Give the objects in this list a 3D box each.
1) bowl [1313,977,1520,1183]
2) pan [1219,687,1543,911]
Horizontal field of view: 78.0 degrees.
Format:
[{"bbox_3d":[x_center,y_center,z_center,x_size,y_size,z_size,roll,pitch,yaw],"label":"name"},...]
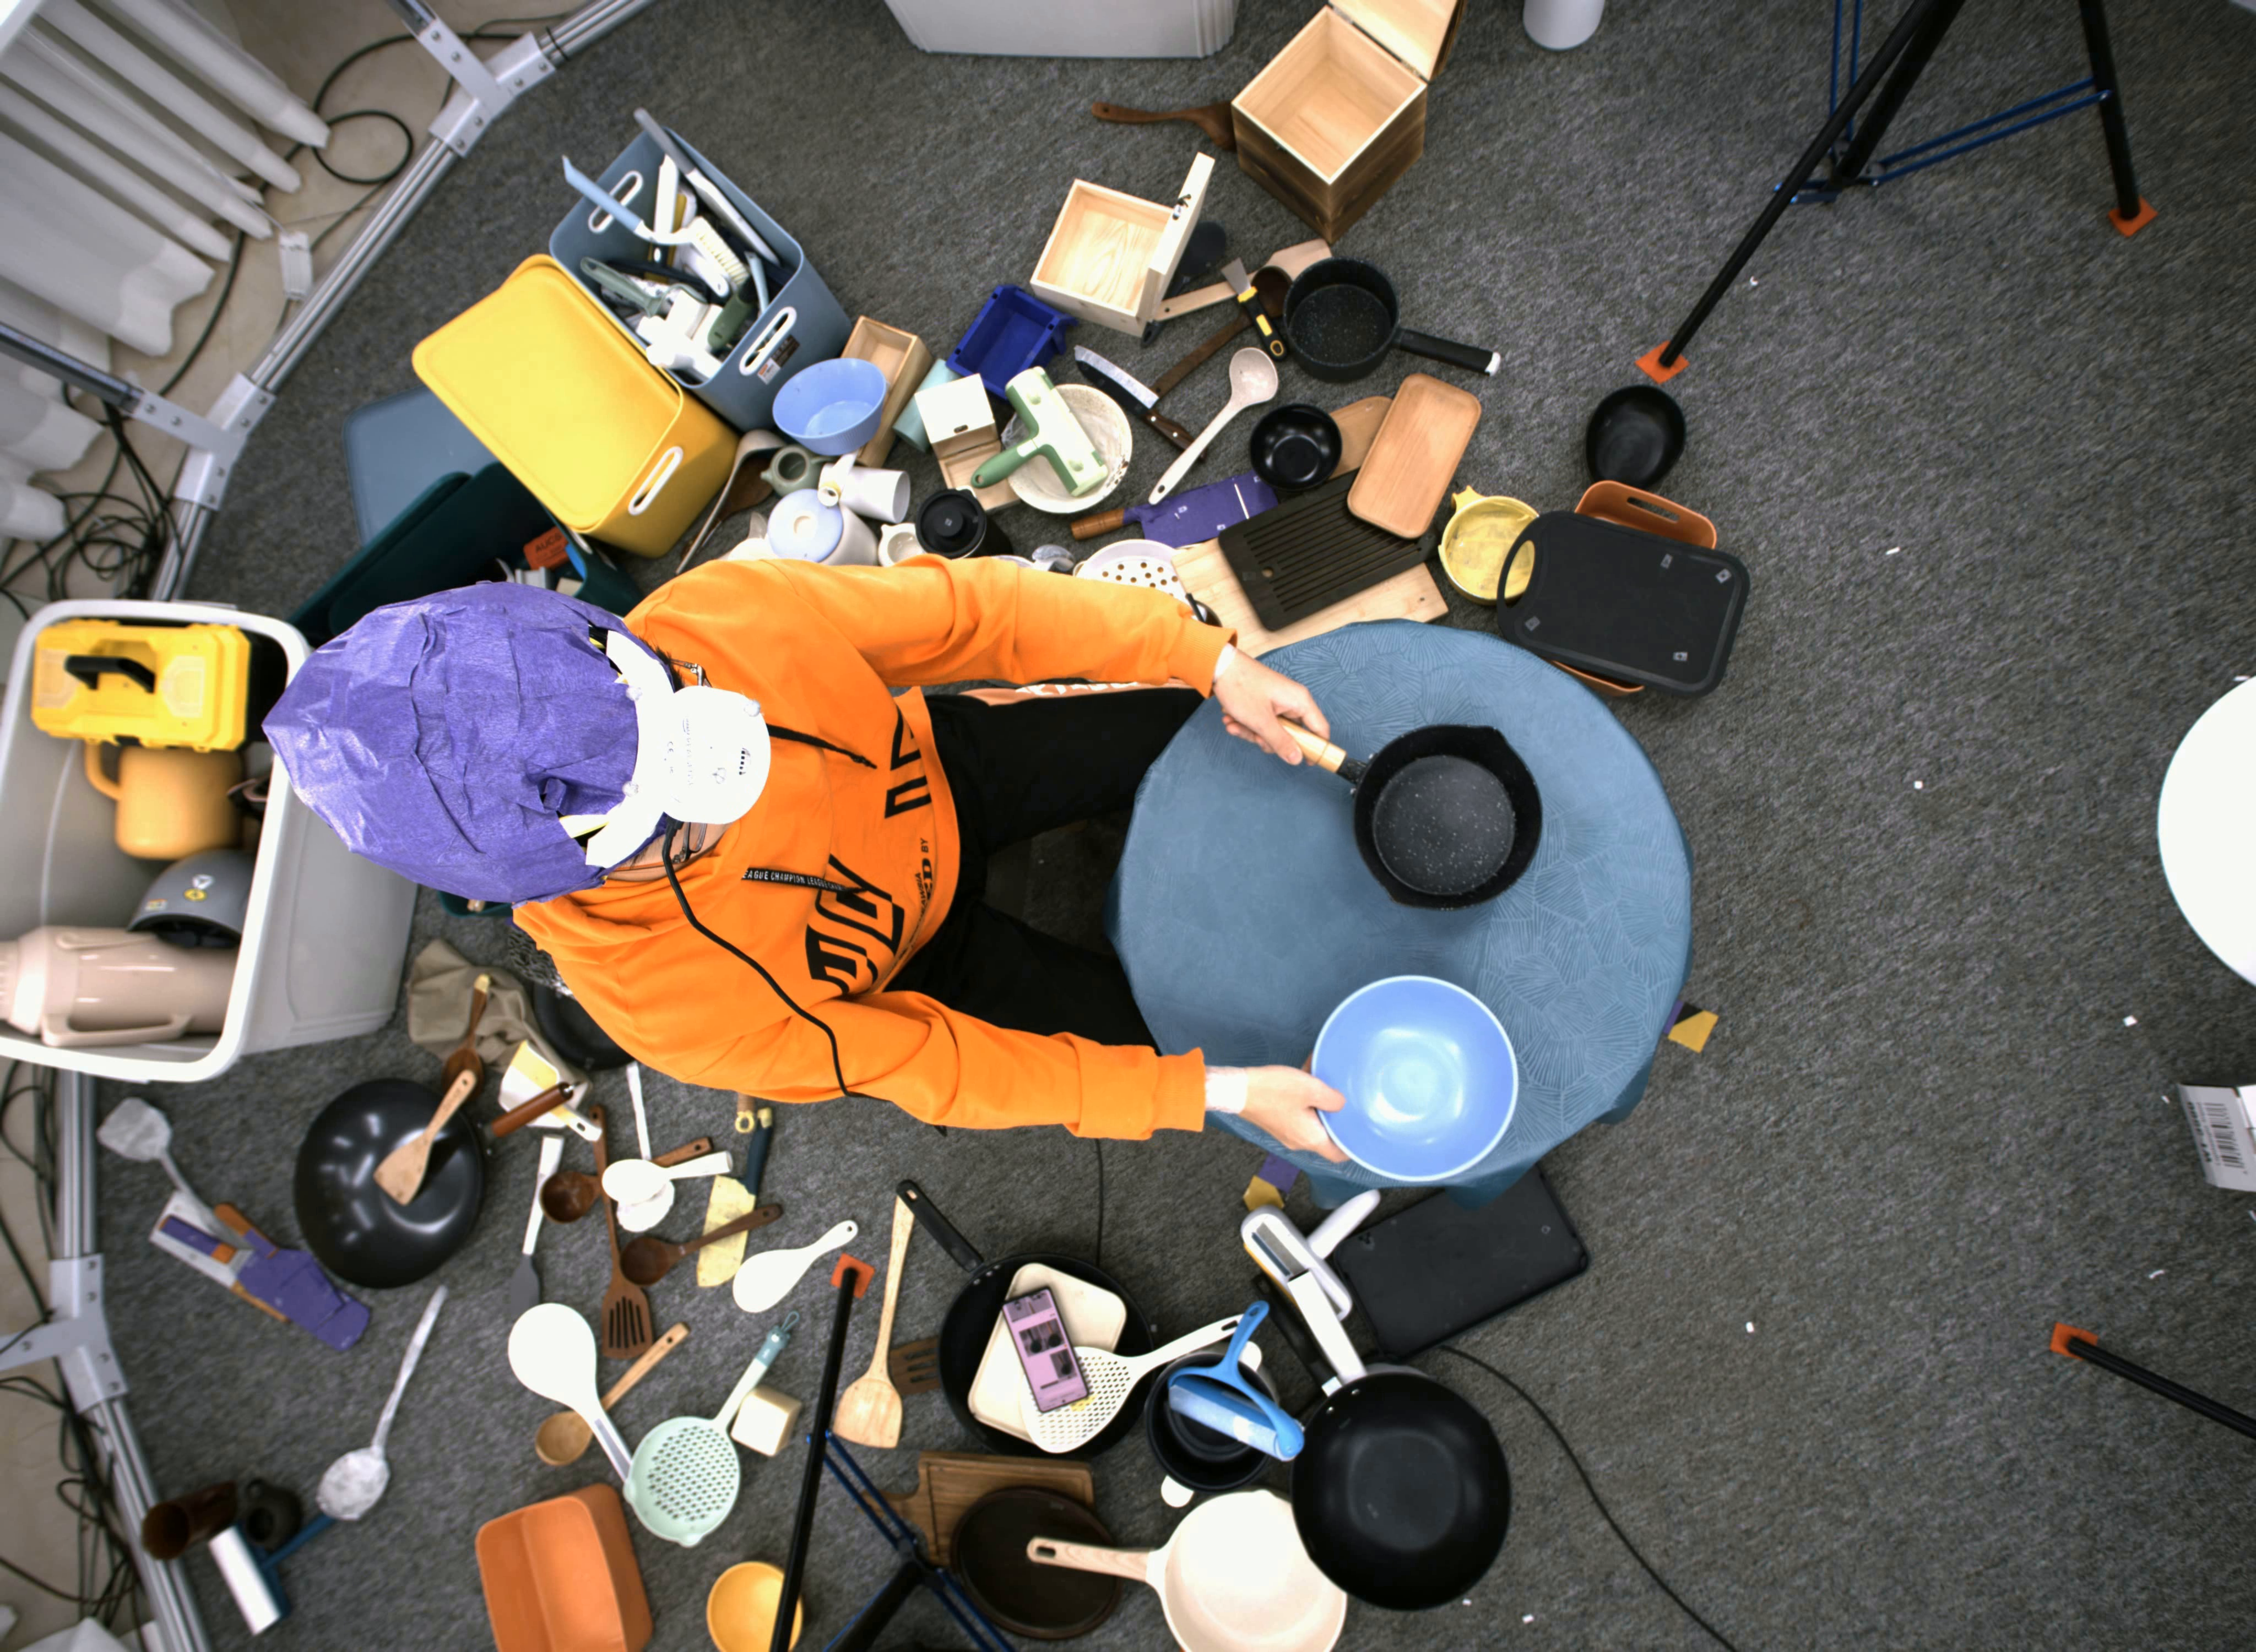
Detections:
[{"bbox_3d":[0.283,0.252,1.369,0.197,0.096,0.194,-2,77,9],"label":"bowl"},{"bbox_3d":[0.247,-0.044,1.388,0.342,0.108,0.208,27,93,10],"label":"pan"}]
